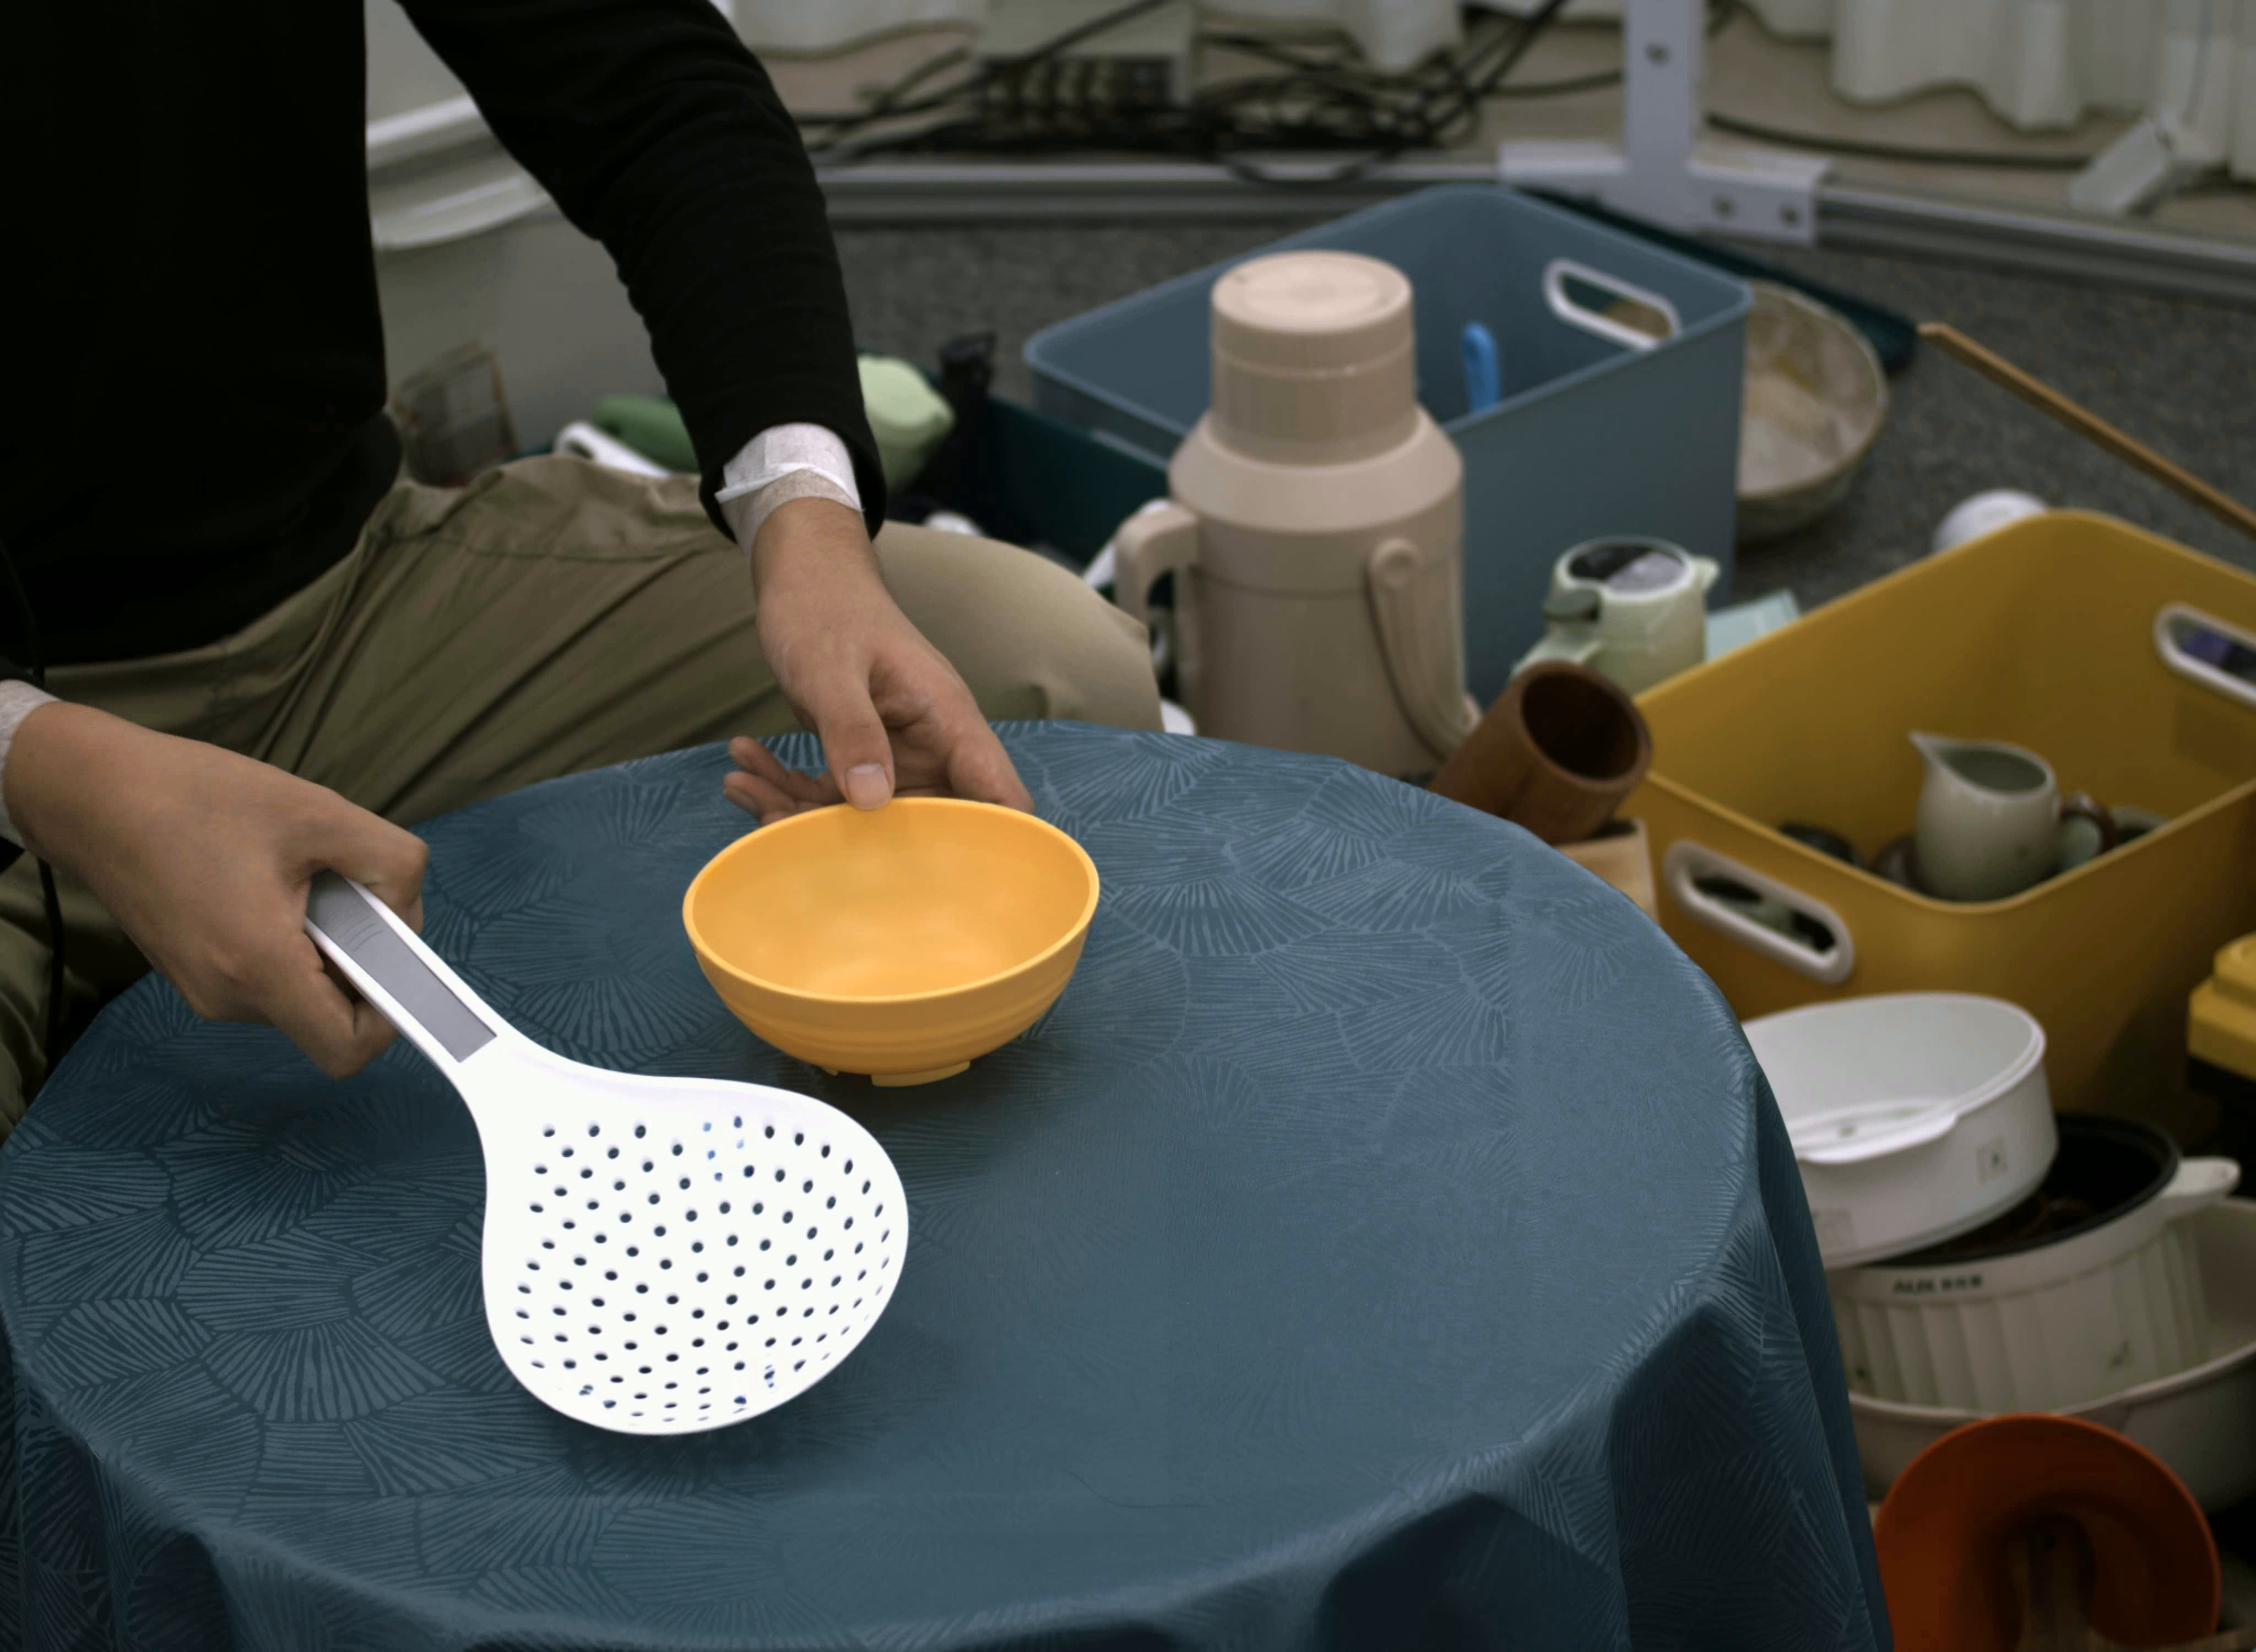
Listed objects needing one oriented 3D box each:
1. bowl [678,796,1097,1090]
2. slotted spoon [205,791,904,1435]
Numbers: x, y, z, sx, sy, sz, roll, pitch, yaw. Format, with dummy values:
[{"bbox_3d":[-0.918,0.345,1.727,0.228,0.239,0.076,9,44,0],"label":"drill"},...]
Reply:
[{"bbox_3d":[-0.082,0.050,1.948,0.144,0.059,0.147,0,28,1],"label":"bowl"},{"bbox_3d":[-0.201,0.085,1.830,0.137,0.045,0.351,-37,54,-18],"label":"slotted spoon"}]
